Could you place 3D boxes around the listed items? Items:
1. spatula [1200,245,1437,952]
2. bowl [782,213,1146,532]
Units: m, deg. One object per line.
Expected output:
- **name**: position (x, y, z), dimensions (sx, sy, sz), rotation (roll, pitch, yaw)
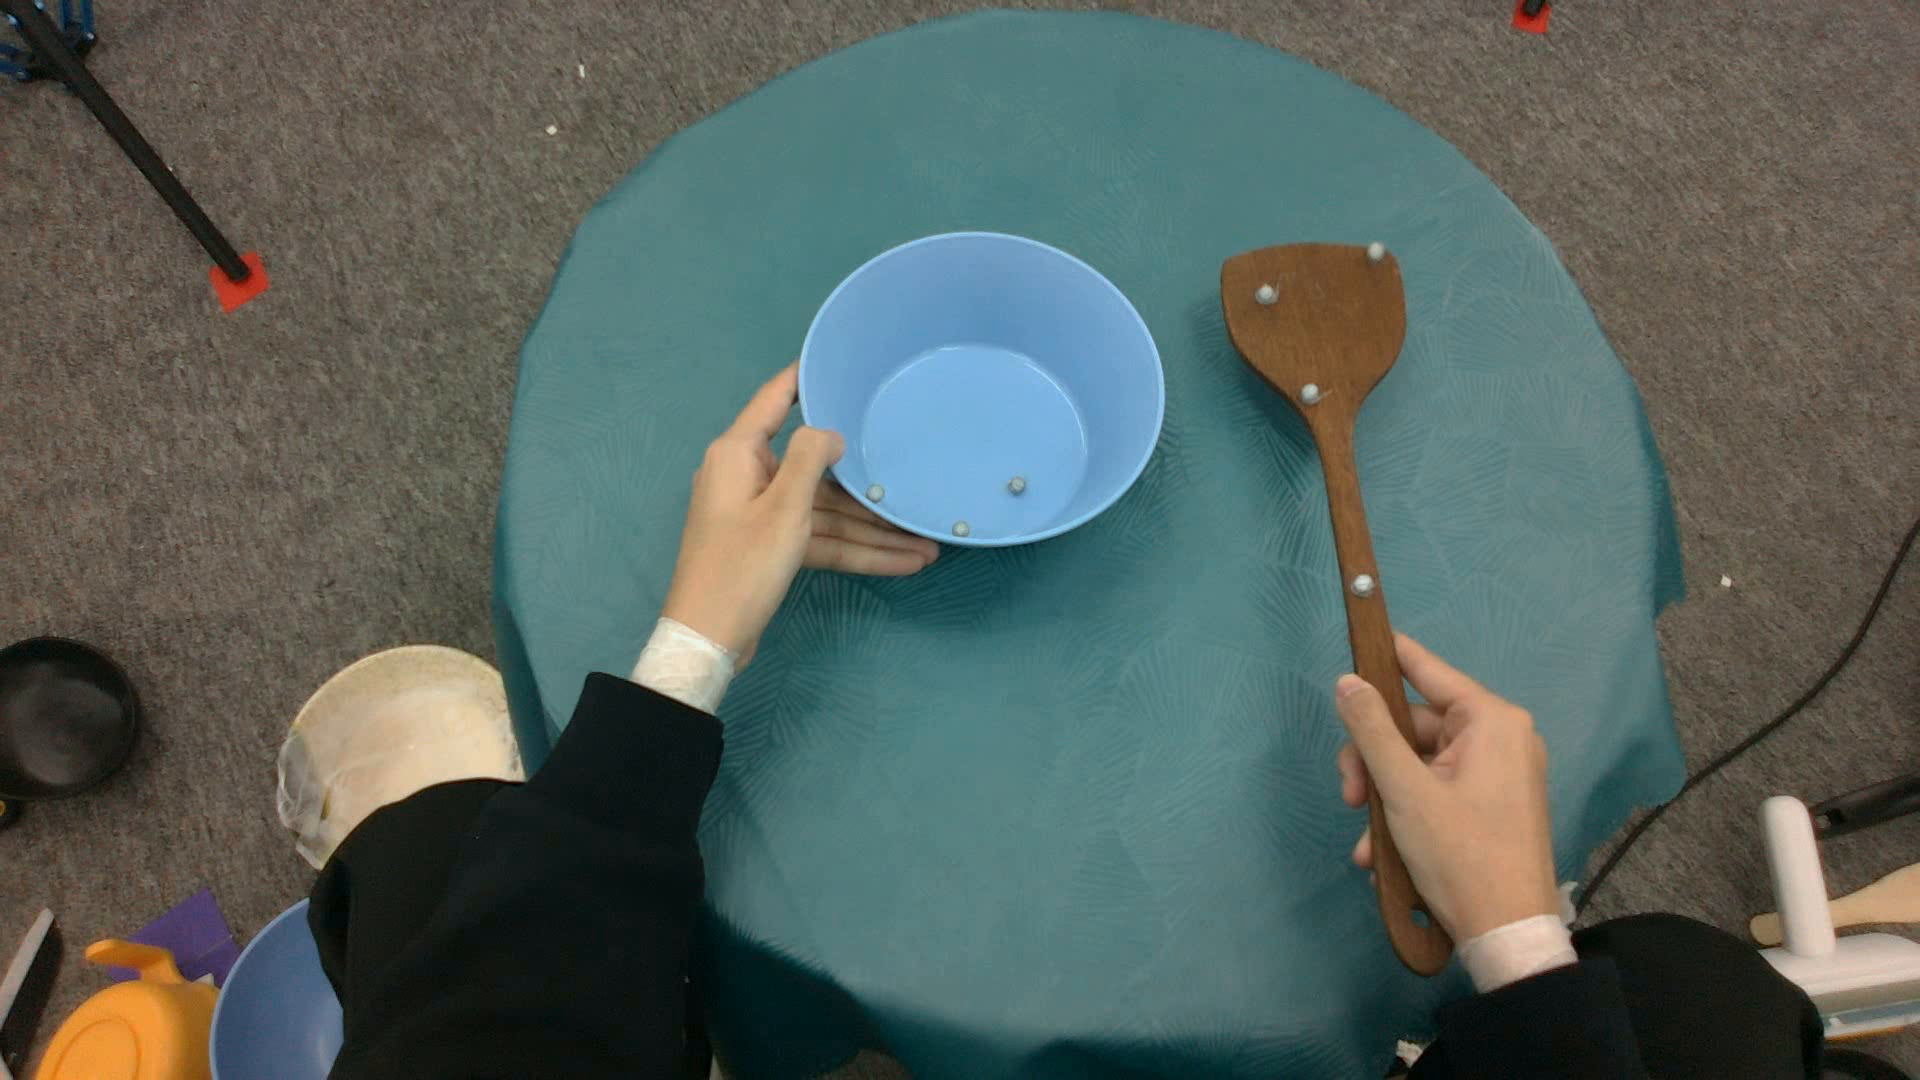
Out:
- **spatula**: position (0.178, 0.001, 0.653), dimensions (0.096, 0.016, 0.387), rotation (0, 56, 0)
- **bowl**: position (0.001, -0.072, 0.689), dimensions (0.176, 0.070, 0.176), rotation (1, 66, -3)
